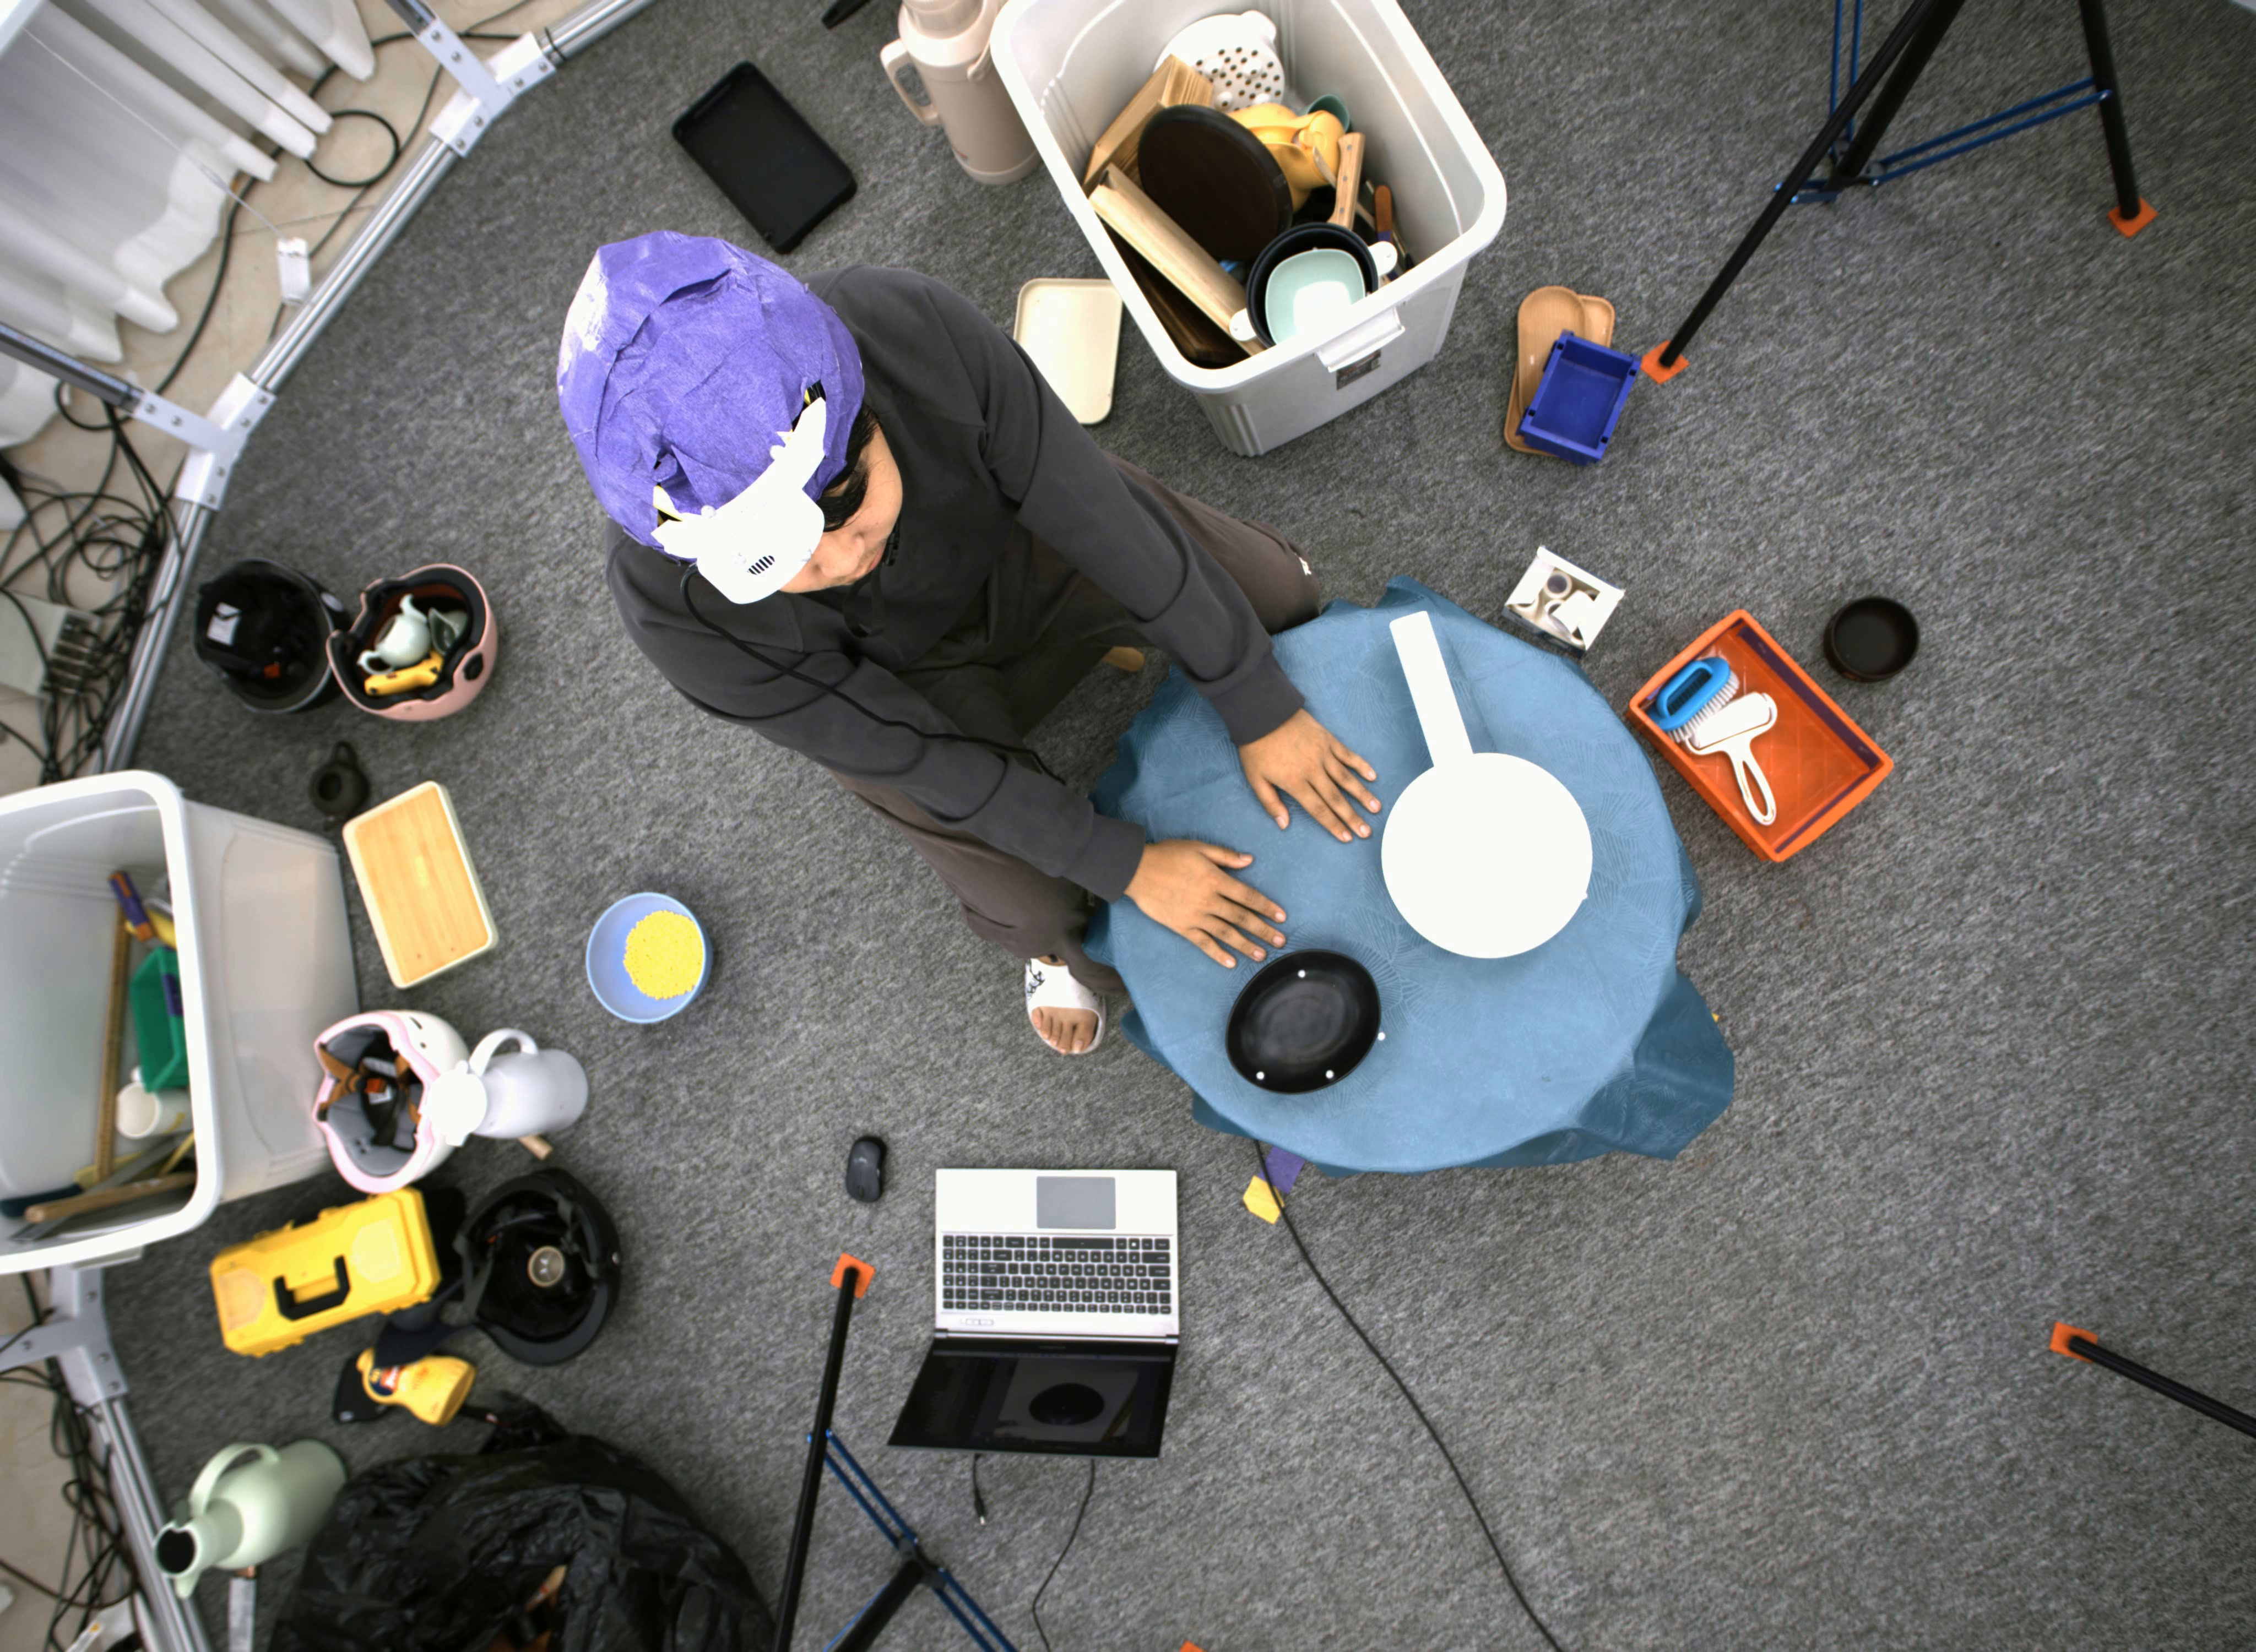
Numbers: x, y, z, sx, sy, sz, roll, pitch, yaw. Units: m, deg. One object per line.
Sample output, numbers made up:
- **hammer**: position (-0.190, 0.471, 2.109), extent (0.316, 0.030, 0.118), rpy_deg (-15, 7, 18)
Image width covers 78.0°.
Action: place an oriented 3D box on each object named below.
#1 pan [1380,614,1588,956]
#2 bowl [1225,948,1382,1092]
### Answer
- **pan**: position (0.340, -0.041, 1.412), extent (0.203, 0.102, 0.352), rpy_deg (-18, 81, 13)
- **bowl**: position (0.183, 0.201, 1.437), extent (0.171, 0.066, 0.136), rpy_deg (-36, 80, 8)
